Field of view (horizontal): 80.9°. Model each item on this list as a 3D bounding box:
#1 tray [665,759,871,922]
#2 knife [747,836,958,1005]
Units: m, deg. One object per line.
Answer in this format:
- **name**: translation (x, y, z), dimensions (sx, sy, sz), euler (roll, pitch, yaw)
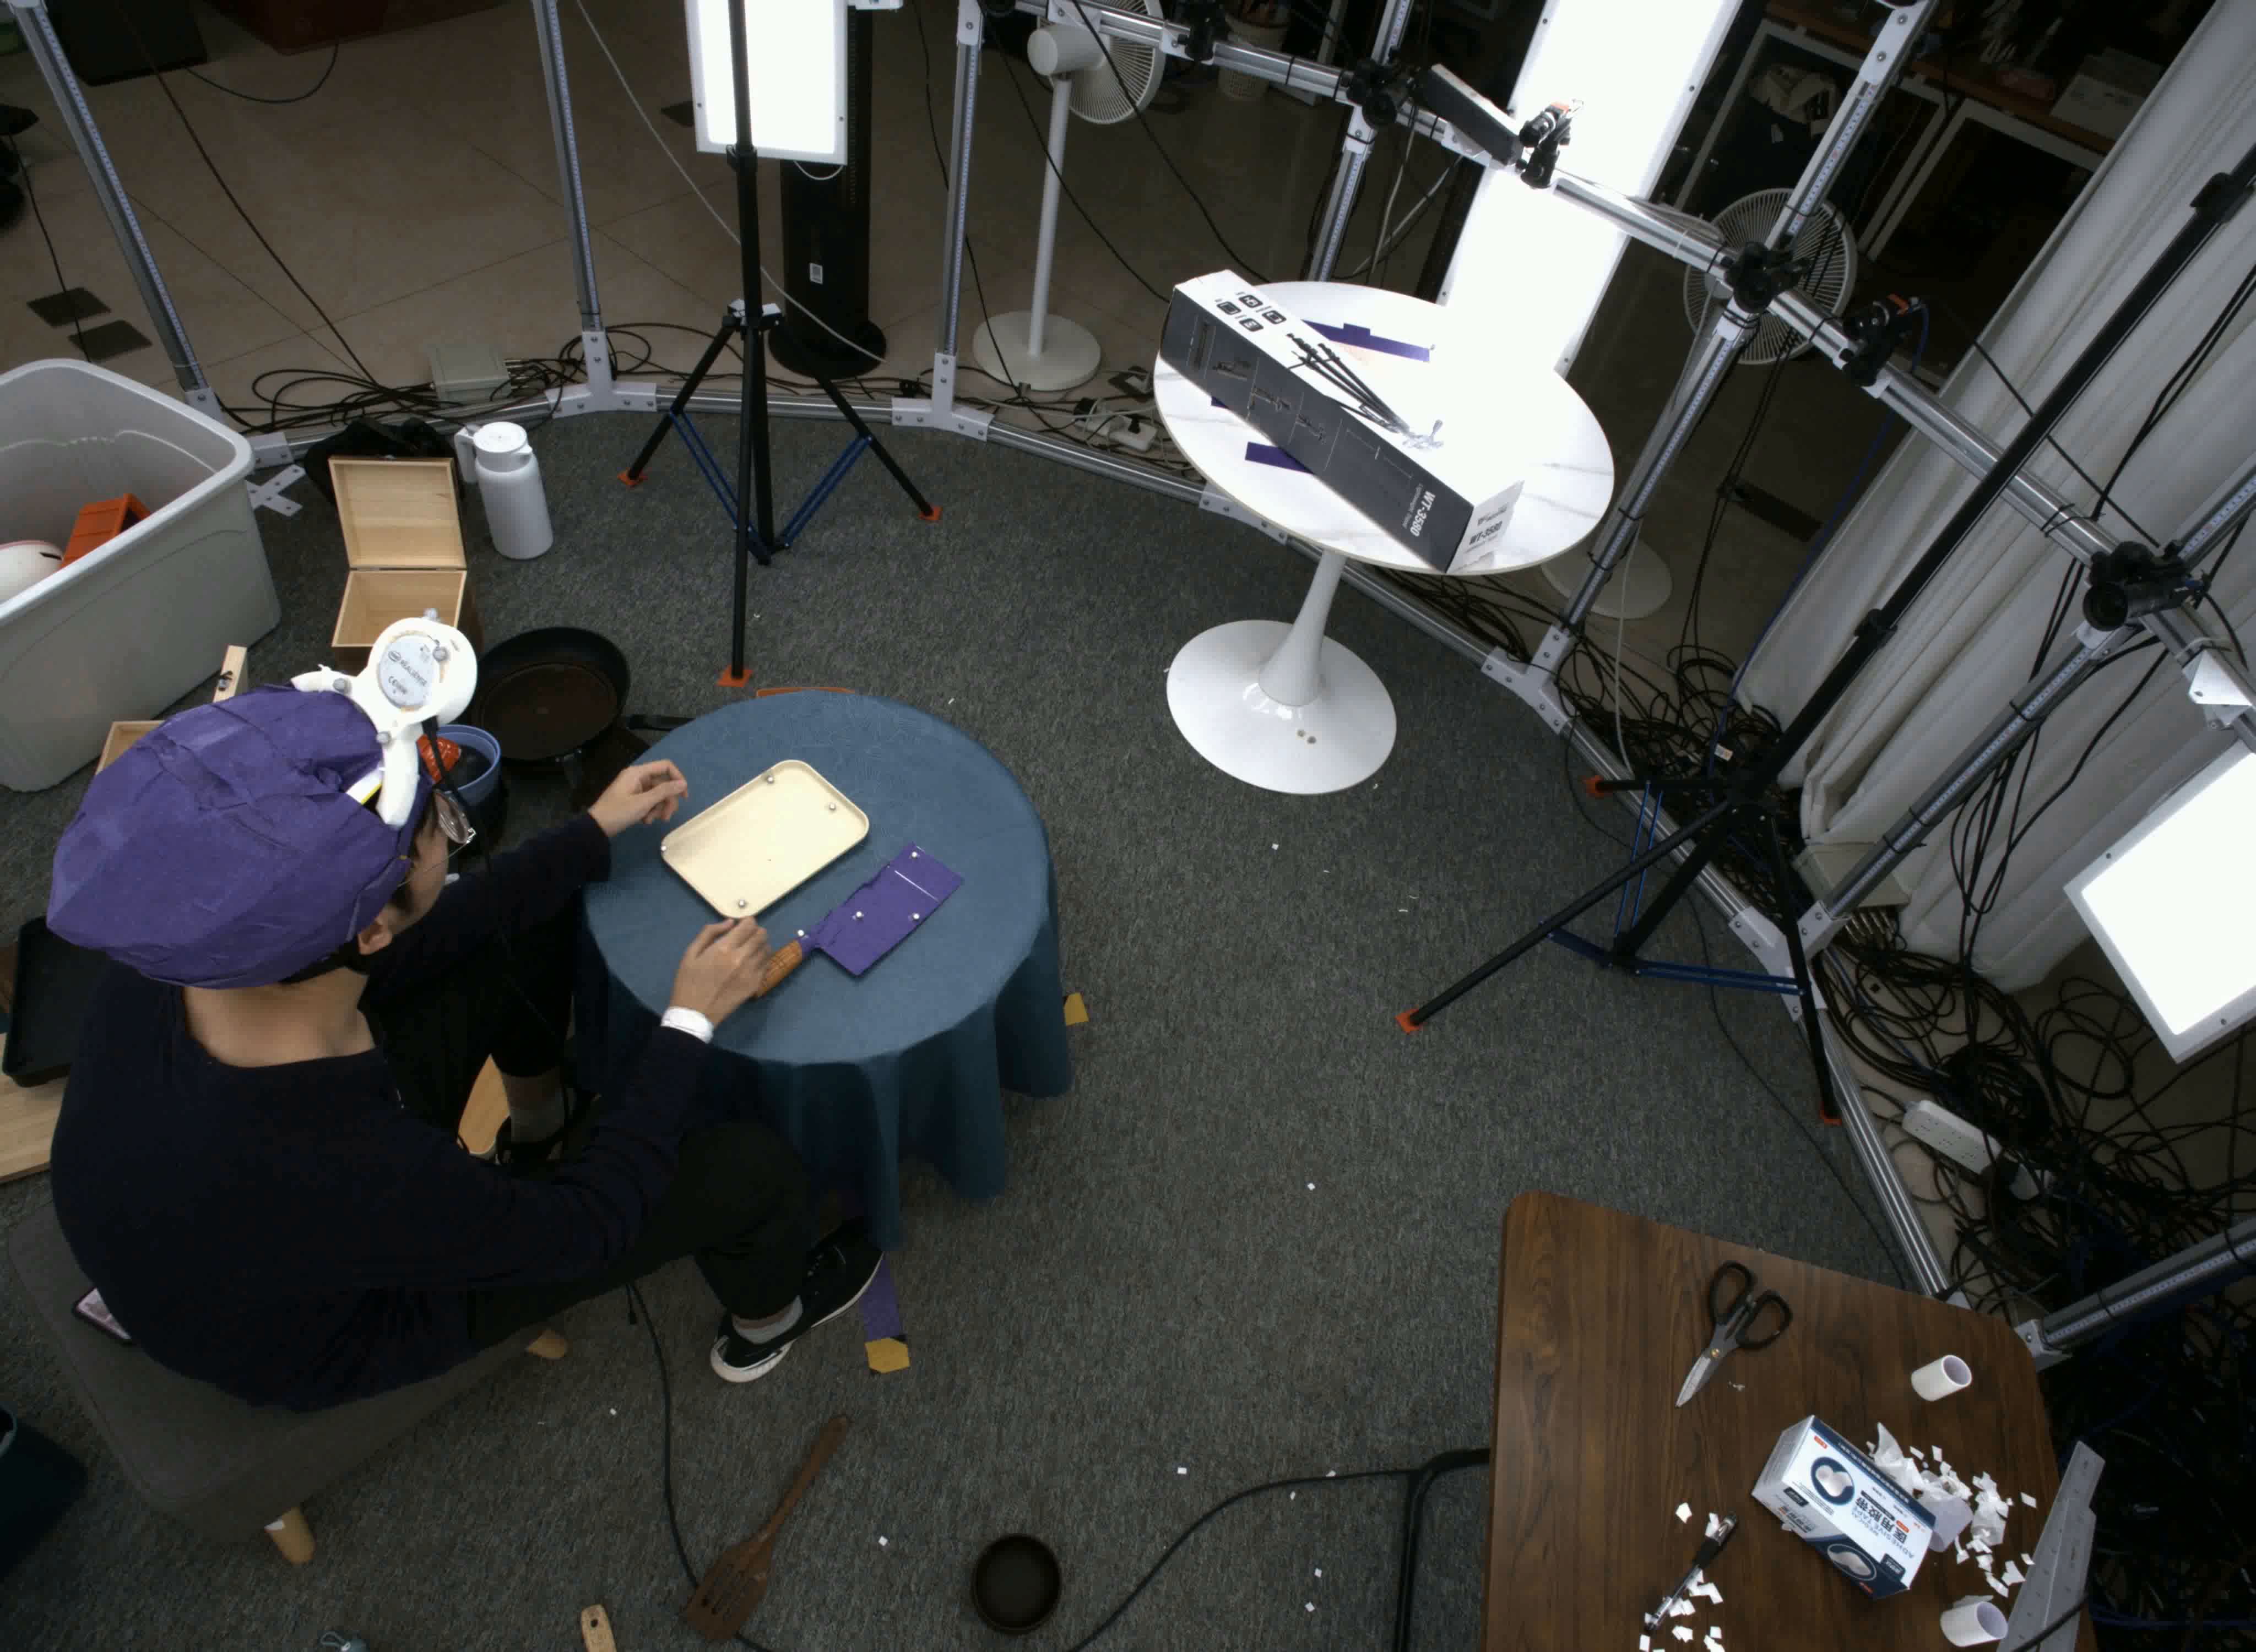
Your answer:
- **tray**: translation (-0.471, 0.016, 1.700), dimensions (0.168, 0.018, 0.240), euler (40, 55, 15)
- **knife**: translation (-0.339, 0.127, 1.645), dimensions (0.102, 0.033, 0.315), euler (34, 53, 12)
